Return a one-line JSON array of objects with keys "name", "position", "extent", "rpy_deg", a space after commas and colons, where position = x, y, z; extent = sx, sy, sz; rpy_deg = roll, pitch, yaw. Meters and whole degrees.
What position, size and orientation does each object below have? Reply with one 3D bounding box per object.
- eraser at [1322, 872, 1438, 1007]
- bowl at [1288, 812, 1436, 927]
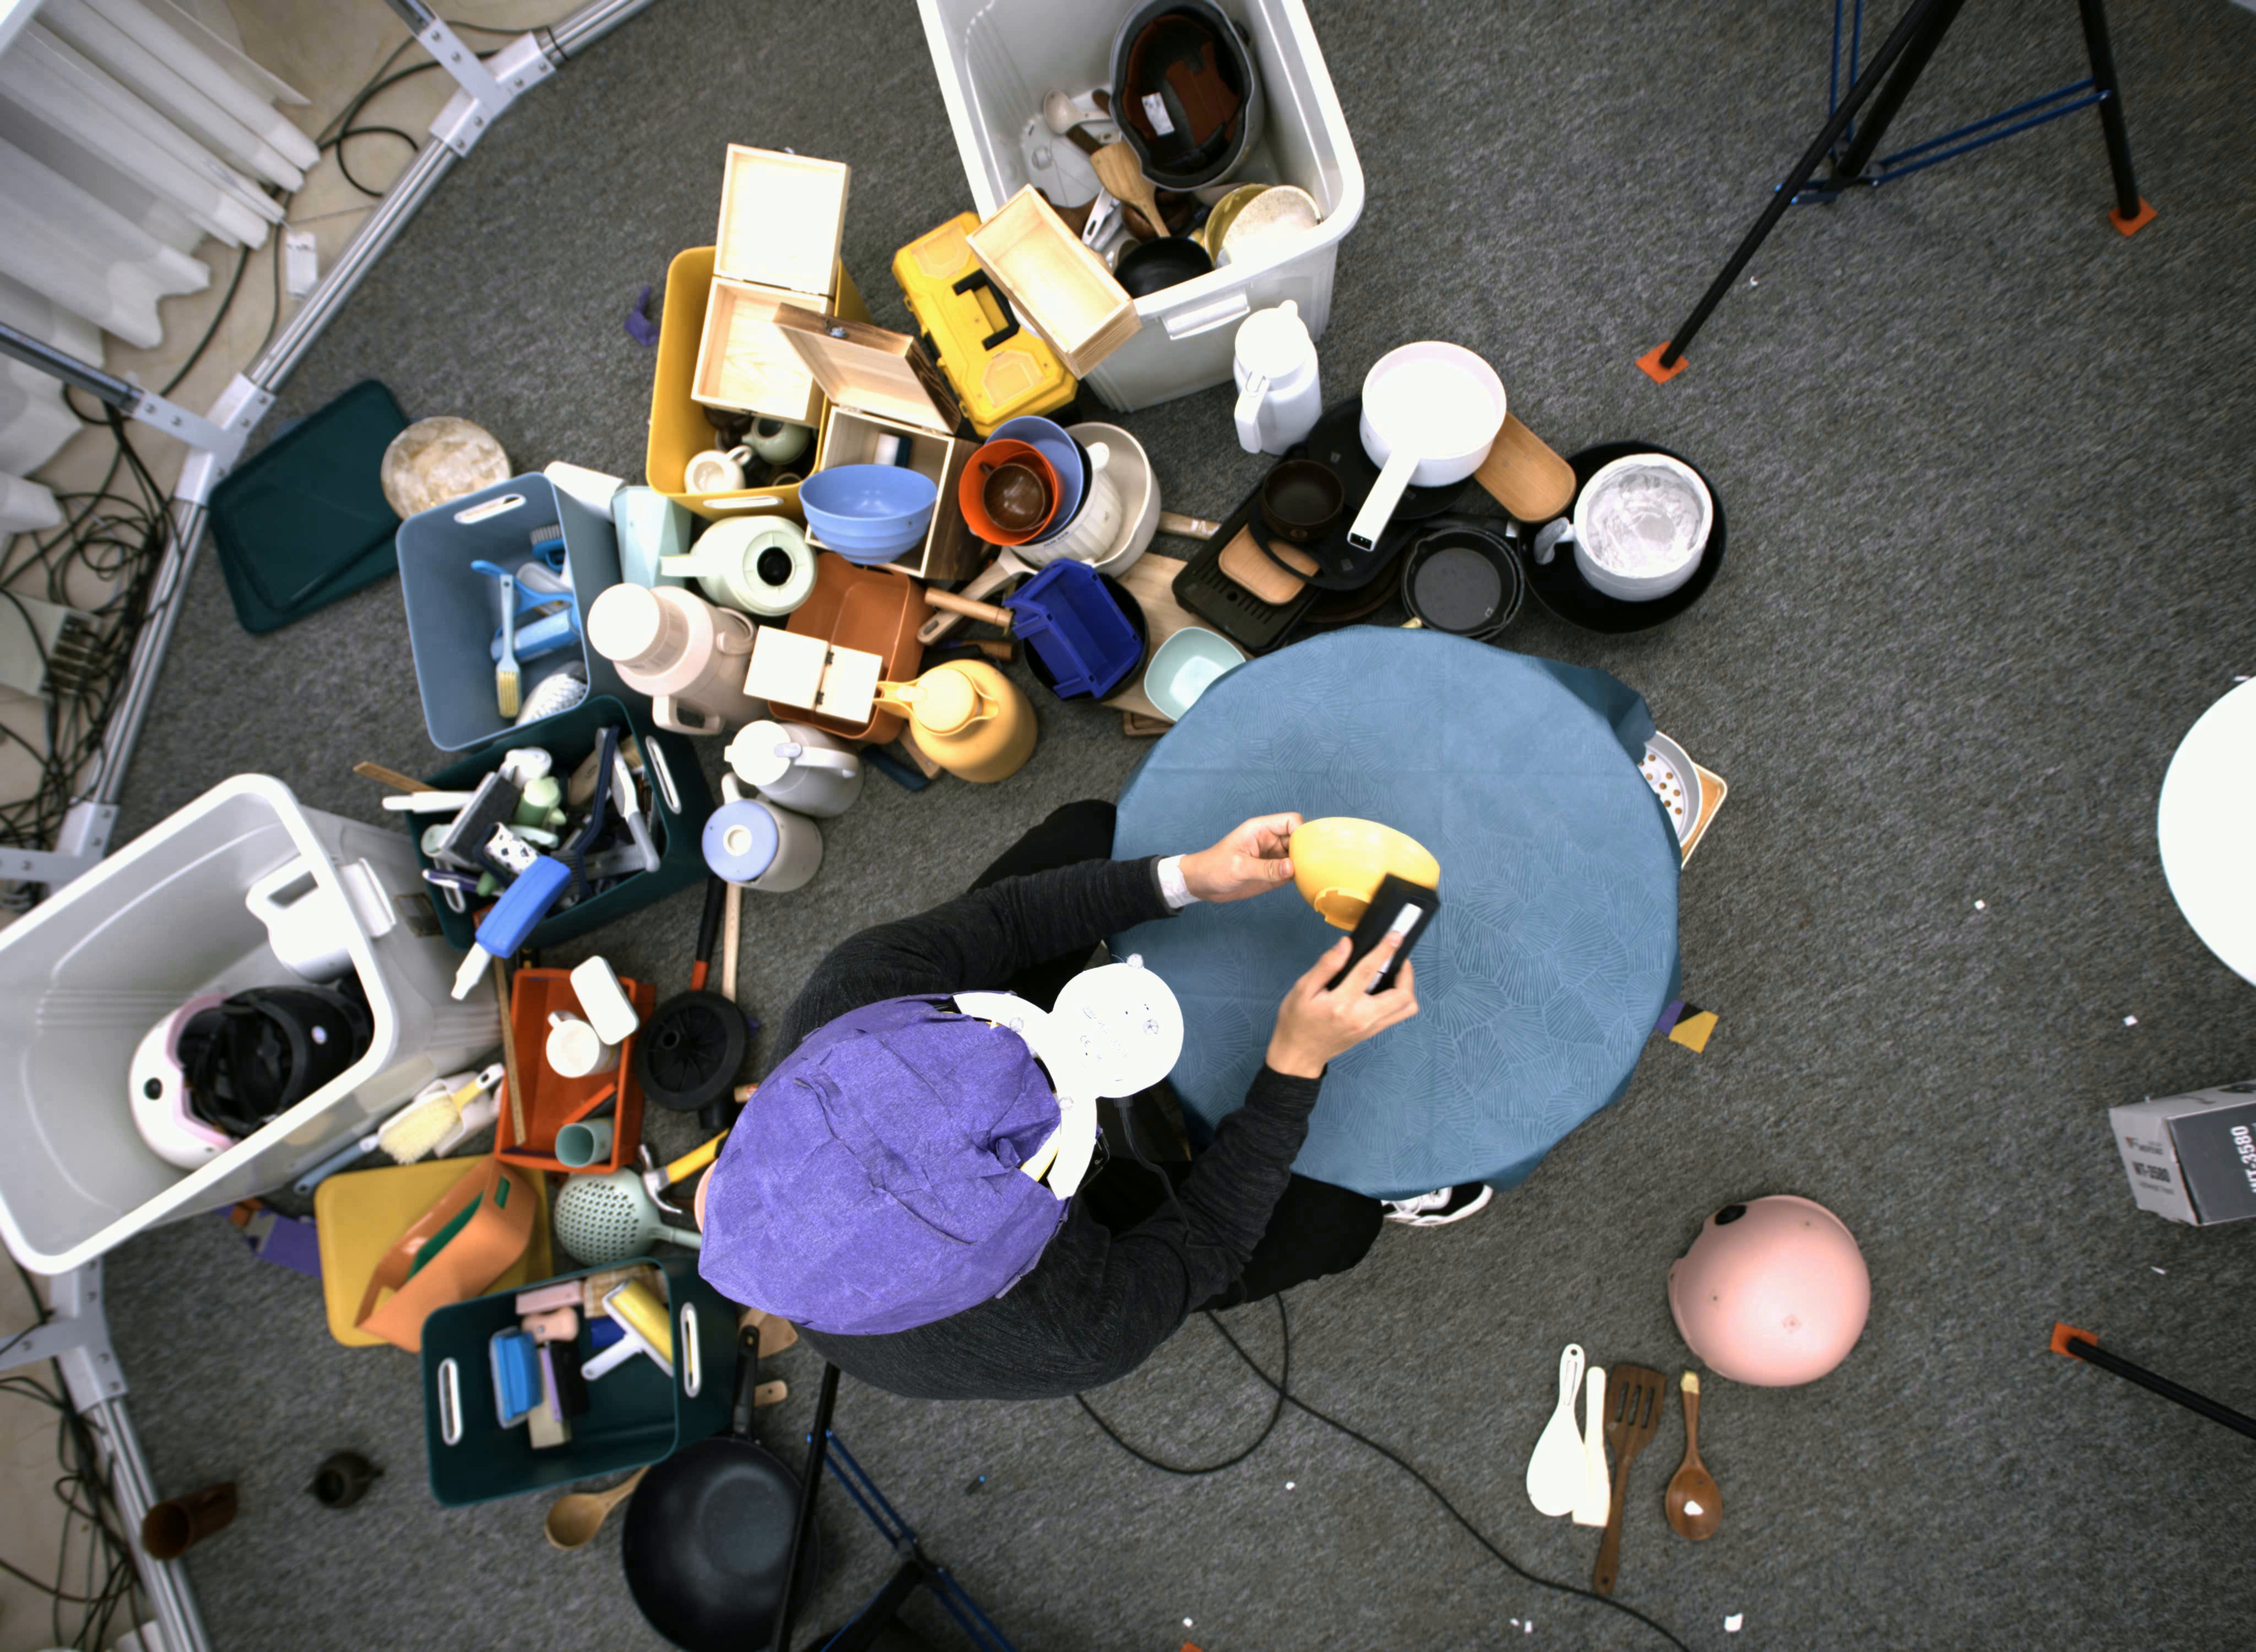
[{"name": "eraser", "position": [0.228, 0.103, 1.260], "extent": [0.053, 0.030, 0.128], "rpy_deg": [18, 116, -17]}, {"name": "bowl", "position": [0.211, 0.054, 1.294], "extent": [0.145, 0.148, 0.059], "rpy_deg": [18, 60, 11]}]
